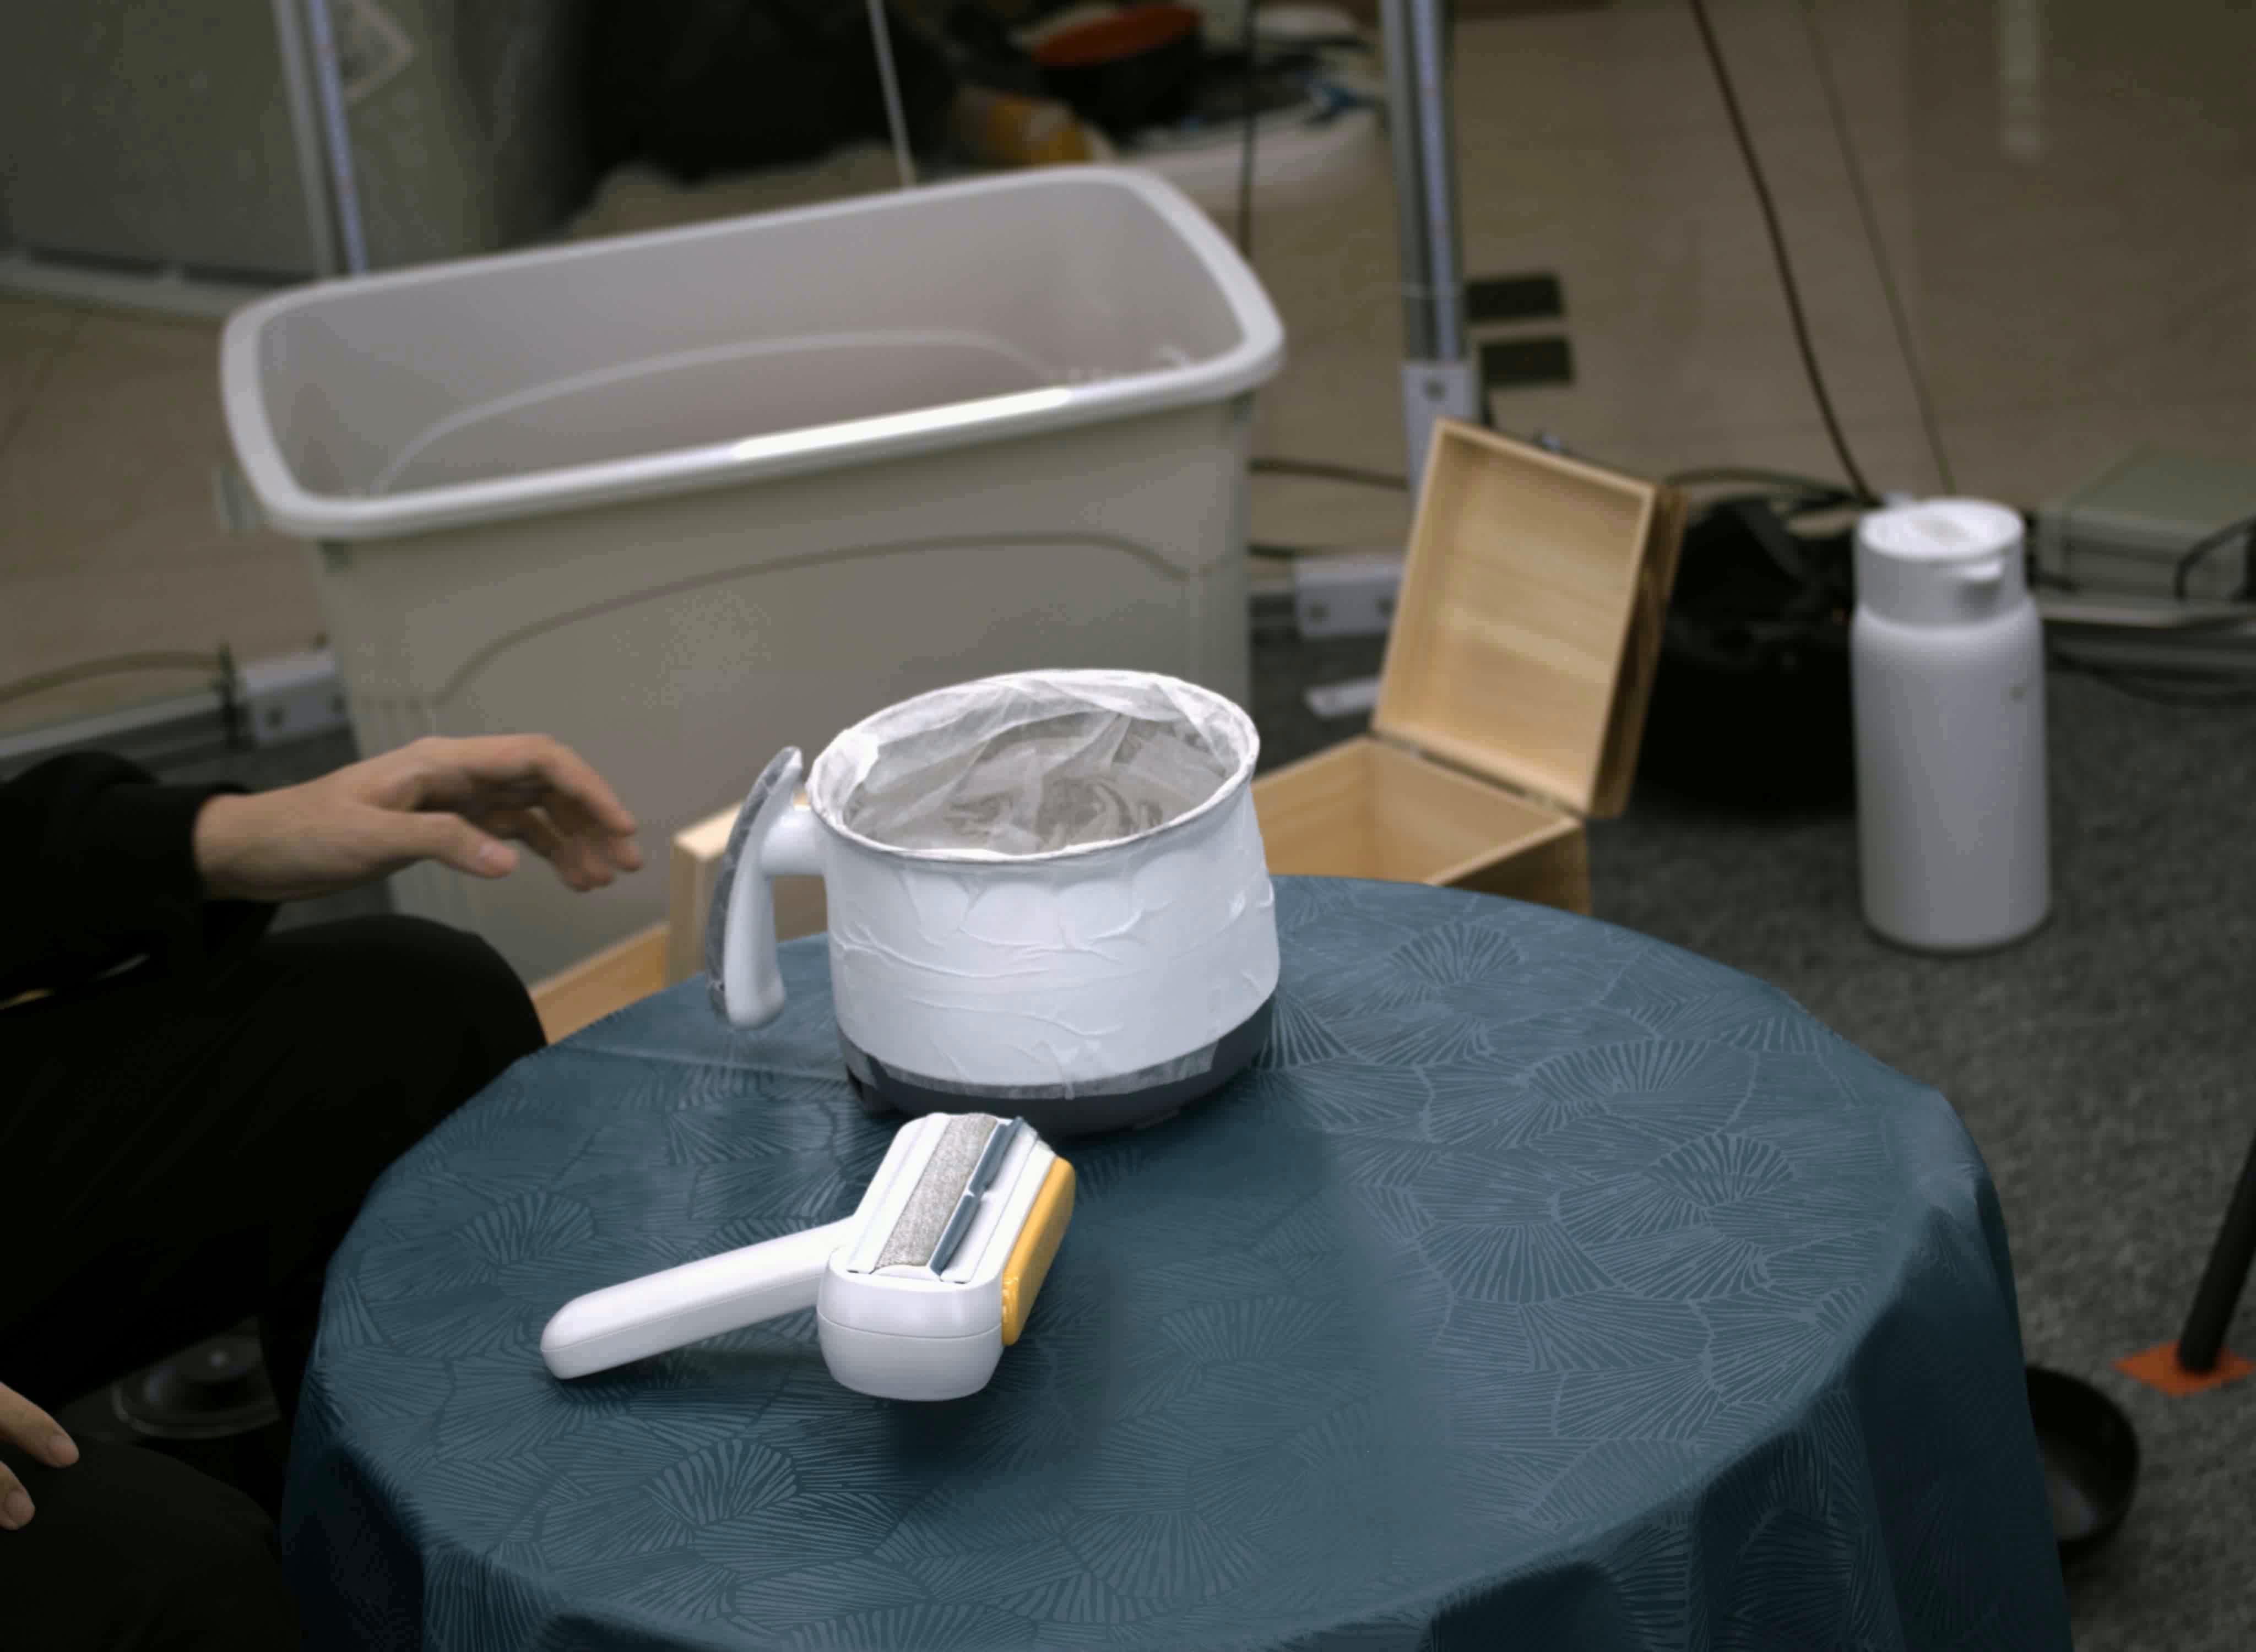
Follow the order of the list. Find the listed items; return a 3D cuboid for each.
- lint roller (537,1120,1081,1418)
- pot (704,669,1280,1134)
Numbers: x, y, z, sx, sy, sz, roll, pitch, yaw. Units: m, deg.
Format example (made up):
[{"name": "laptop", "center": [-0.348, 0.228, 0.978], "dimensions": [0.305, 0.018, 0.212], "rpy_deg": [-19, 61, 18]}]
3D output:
[{"name": "lint roller", "center": [-0.123, 0.164, 2.040], "dimensions": [0.192, 0.075, 0.190], "rpy_deg": [-2, 20, 13]}, {"name": "pot", "center": [-0.057, 0.030, 2.222], "dimensions": [0.233, 0.139, 0.176], "rpy_deg": [1, 25, 13]}]
